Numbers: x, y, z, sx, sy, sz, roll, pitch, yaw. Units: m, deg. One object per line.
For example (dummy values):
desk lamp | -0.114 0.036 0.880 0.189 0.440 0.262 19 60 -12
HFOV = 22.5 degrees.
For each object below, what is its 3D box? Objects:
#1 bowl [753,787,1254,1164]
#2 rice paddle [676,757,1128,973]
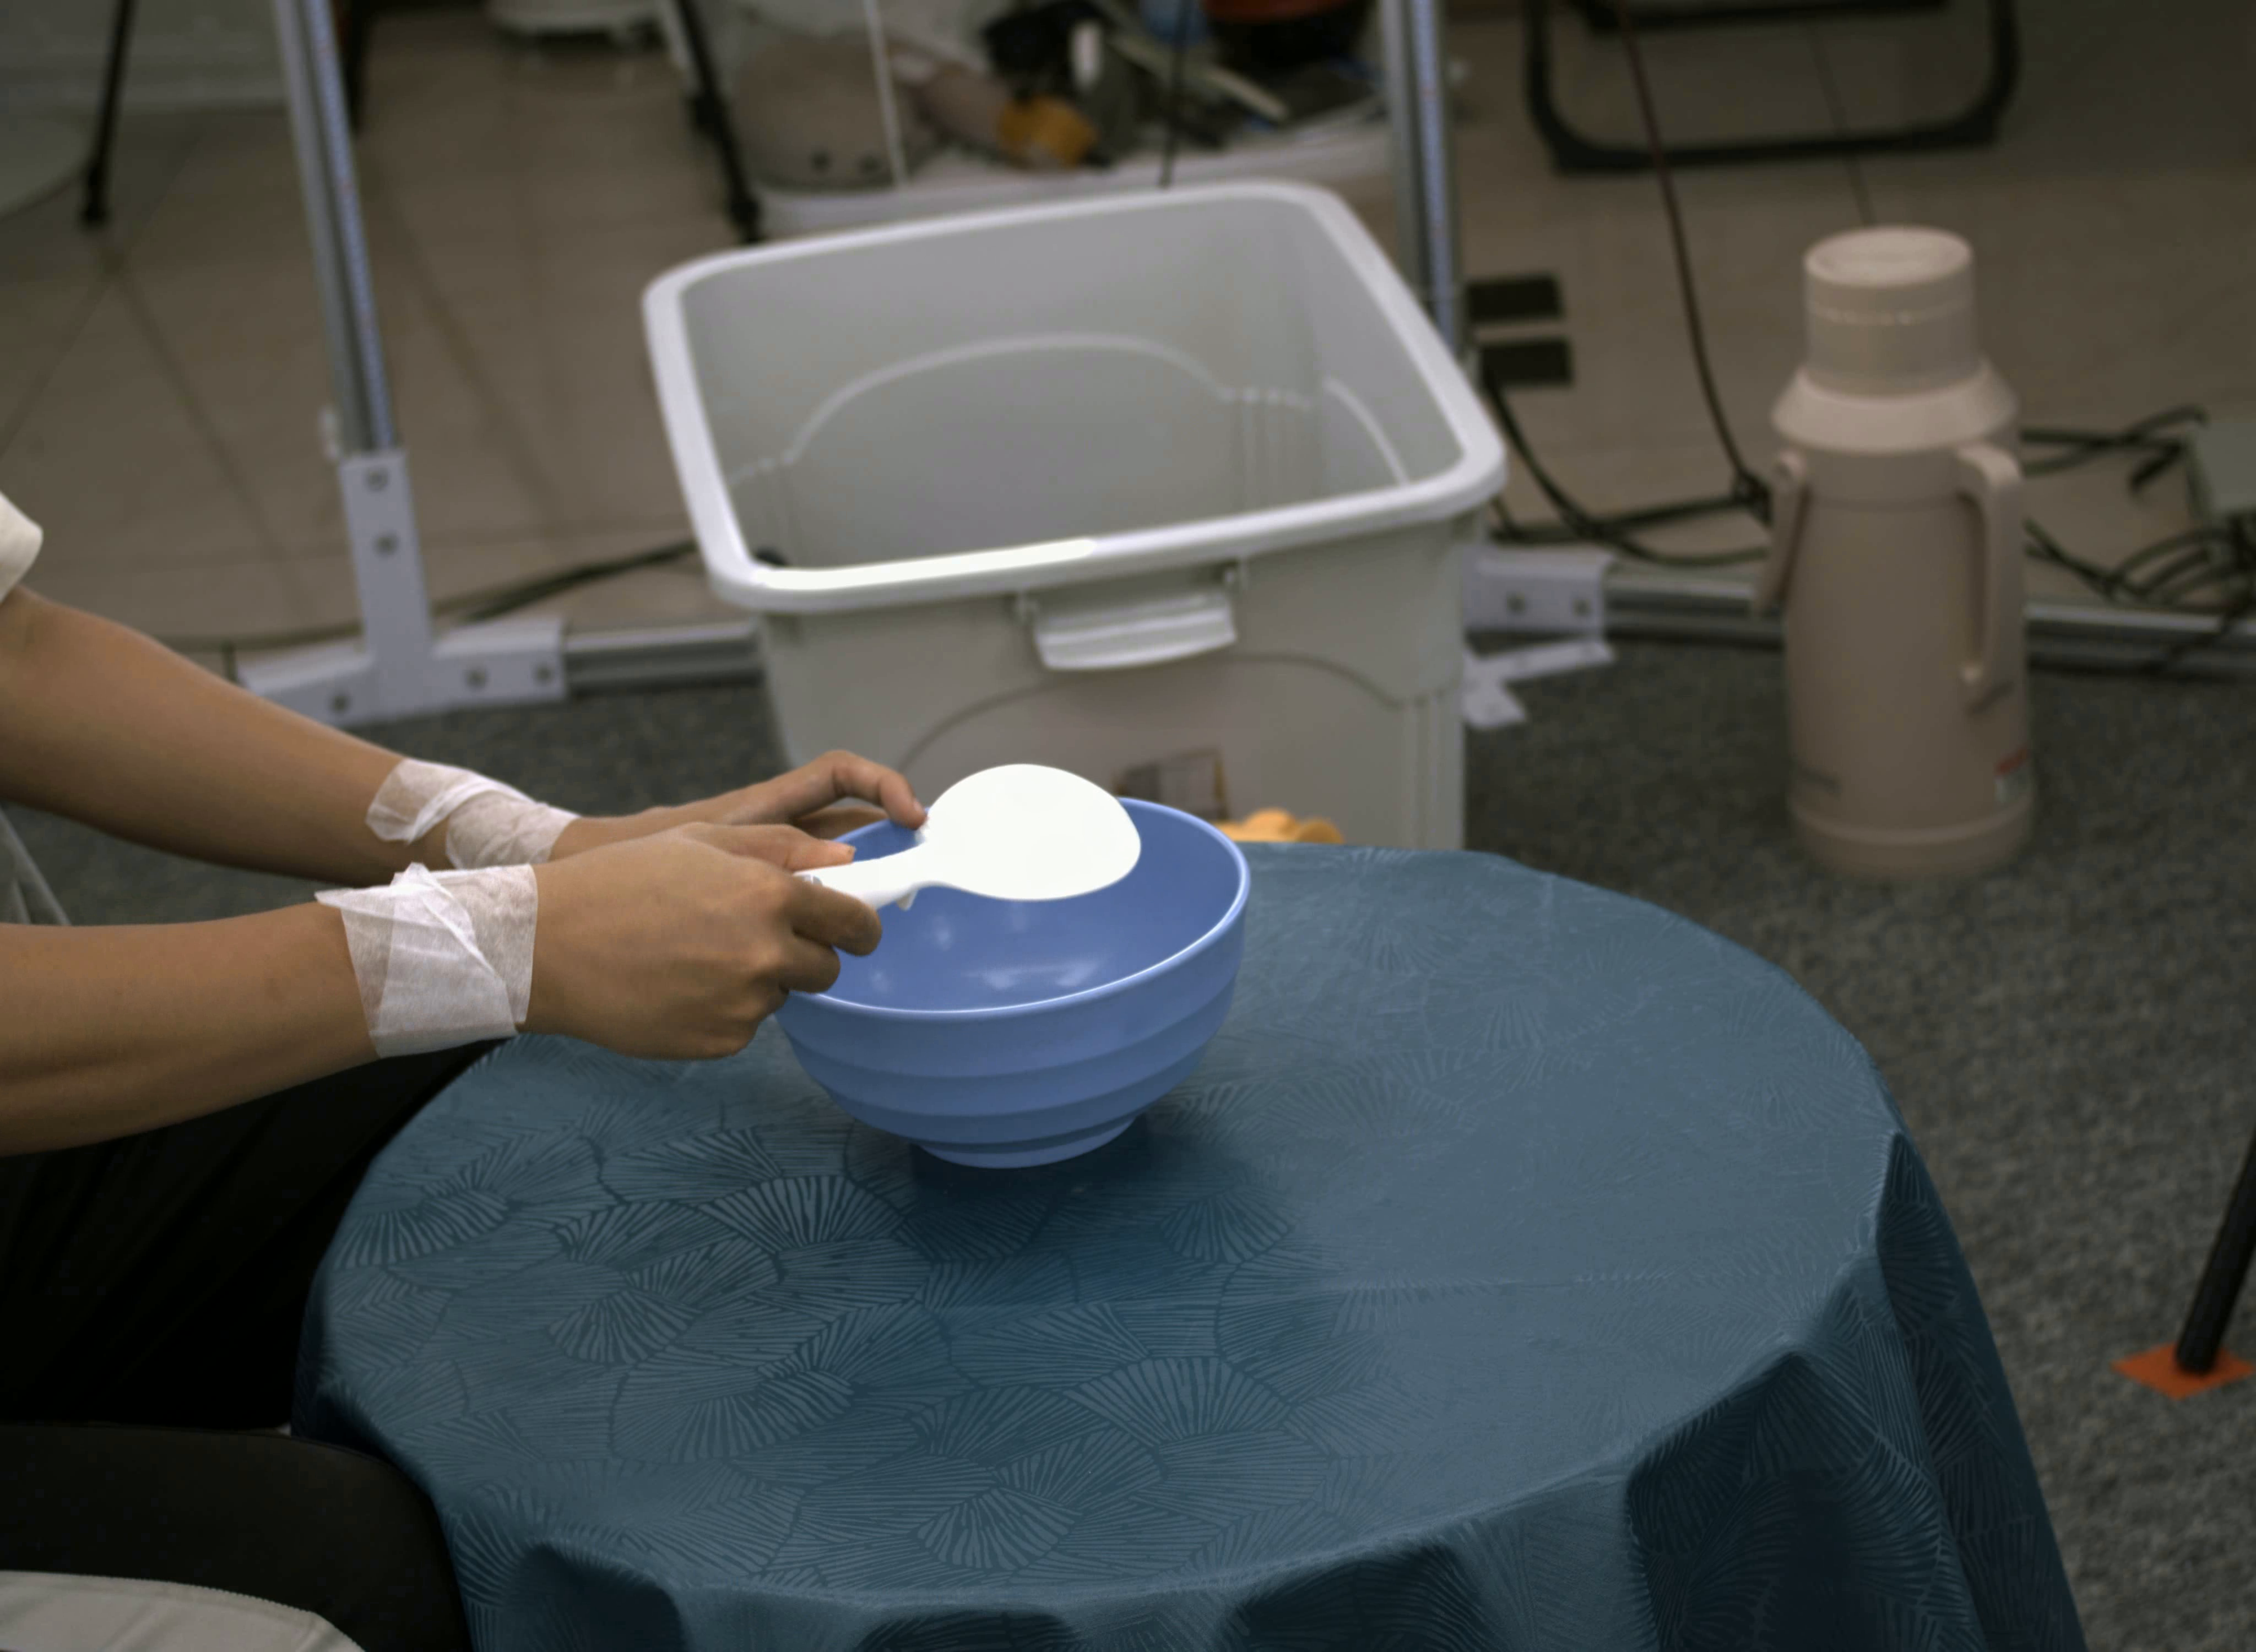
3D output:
bowl | -0.046 0.068 2.198 0.196 0.097 0.193 -4 26 2
rice paddle | -0.079 0.012 2.083 0.204 0.030 0.068 -19 55 -41
